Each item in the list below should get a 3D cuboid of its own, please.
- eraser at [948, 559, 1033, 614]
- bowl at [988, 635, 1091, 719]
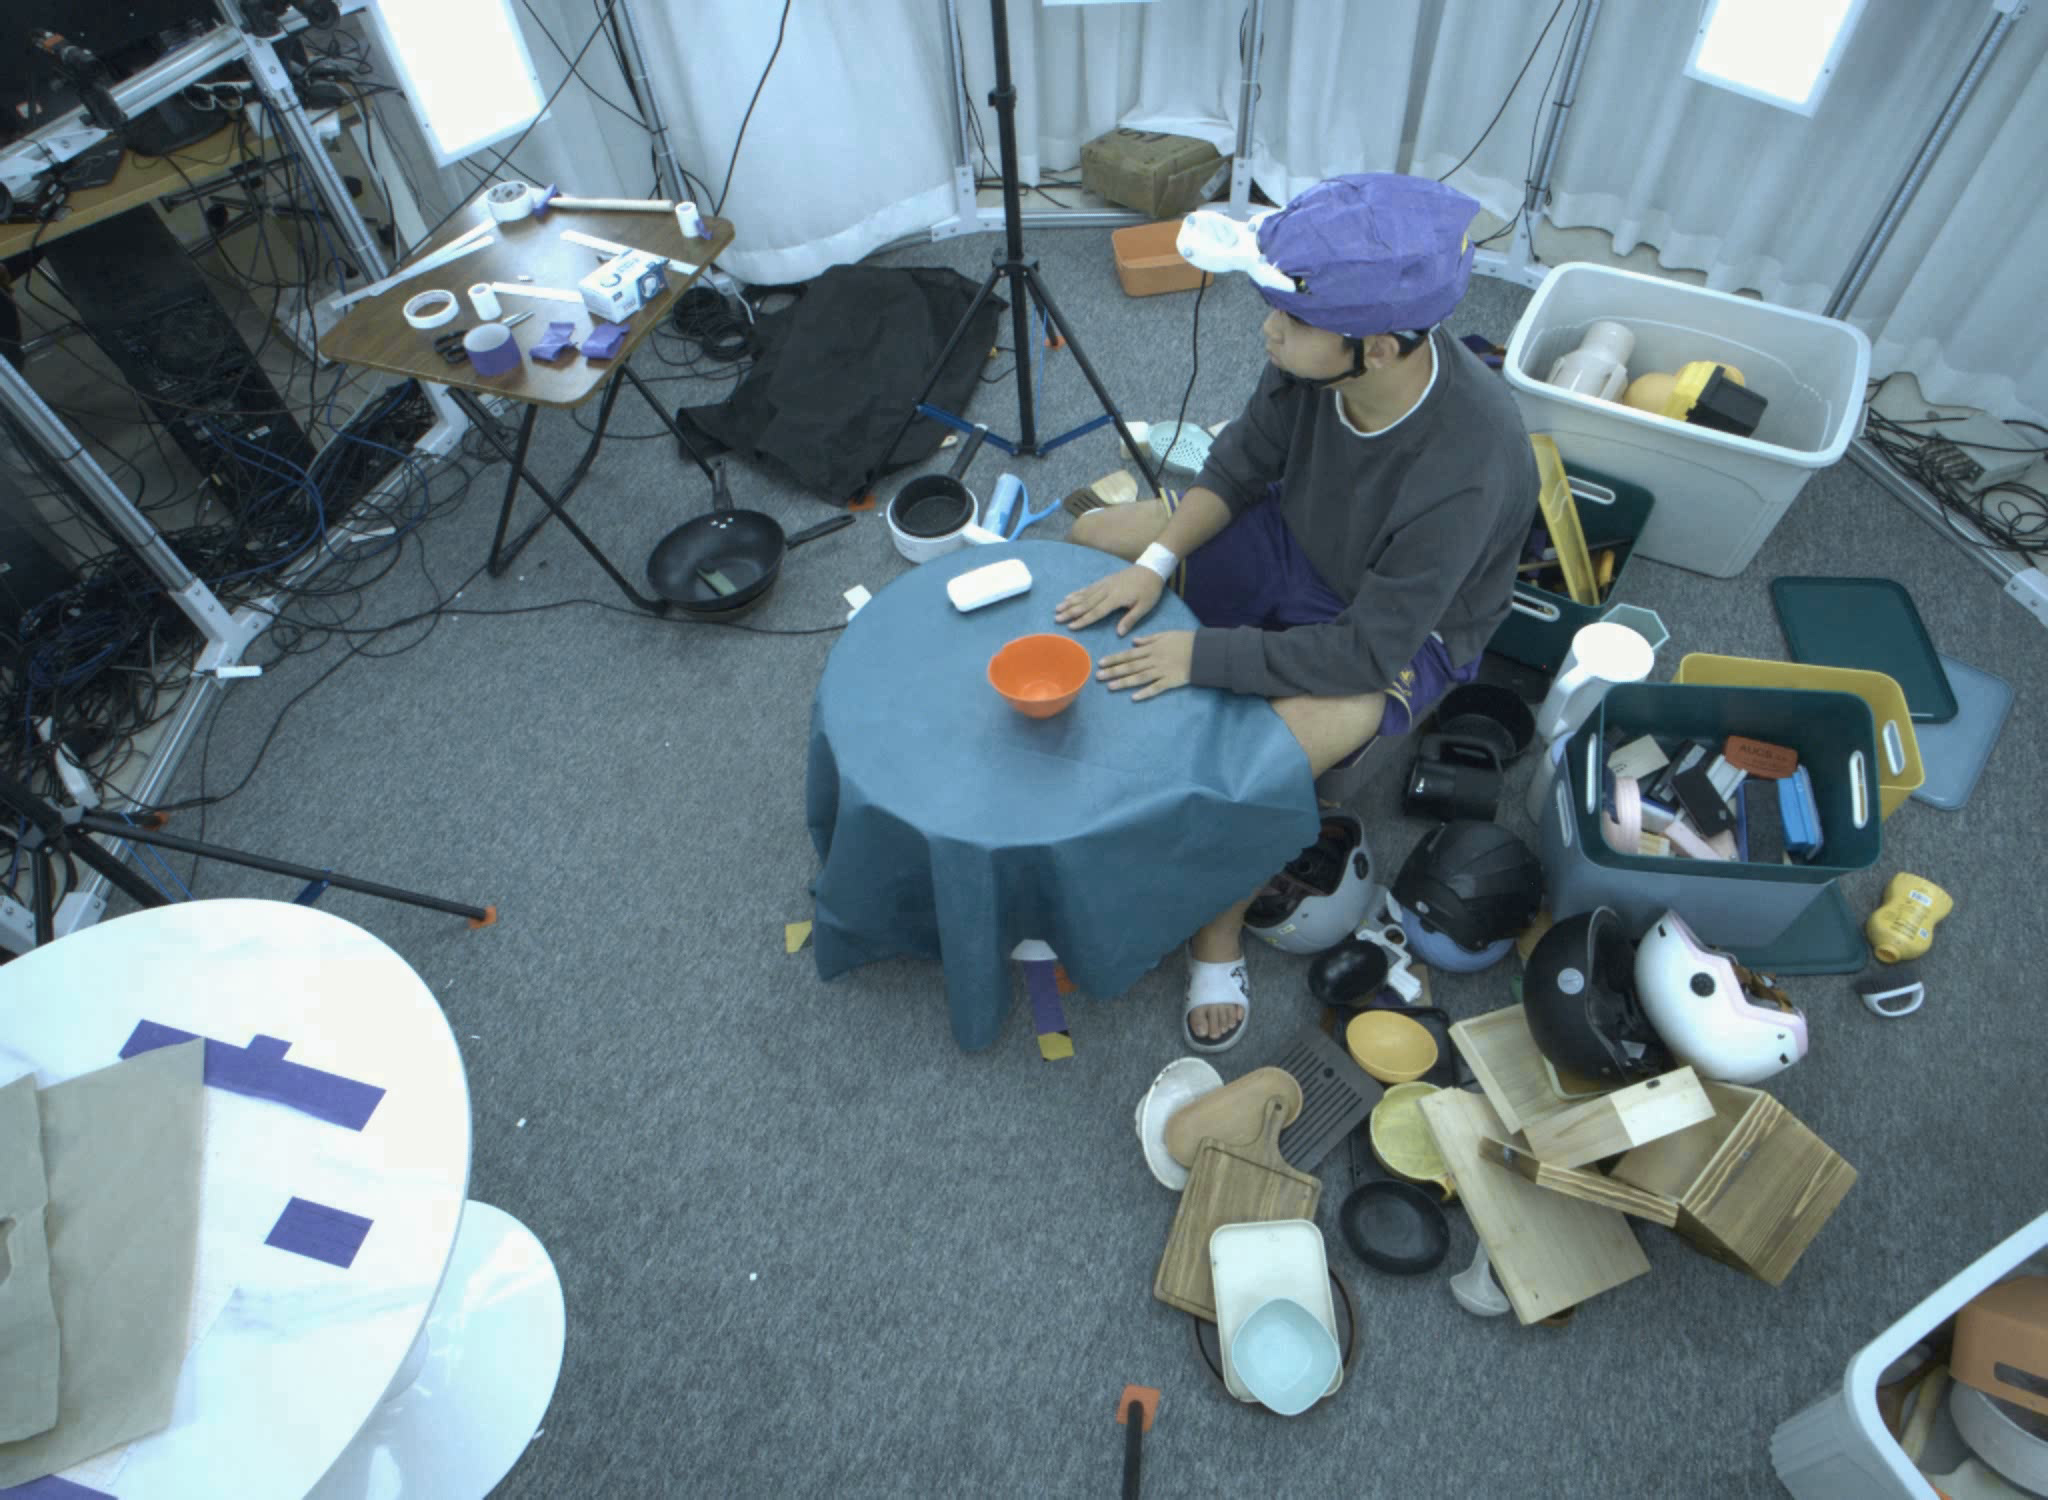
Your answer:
[{"bbox_3d":[-0.053,-0.261,1.957,0.132,0.035,0.062,-20,57,-10],"label":"eraser"},{"bbox_3d":[0.024,-0.093,1.794,0.148,0.106,0.146,-1,54,2],"label":"bowl"}]
